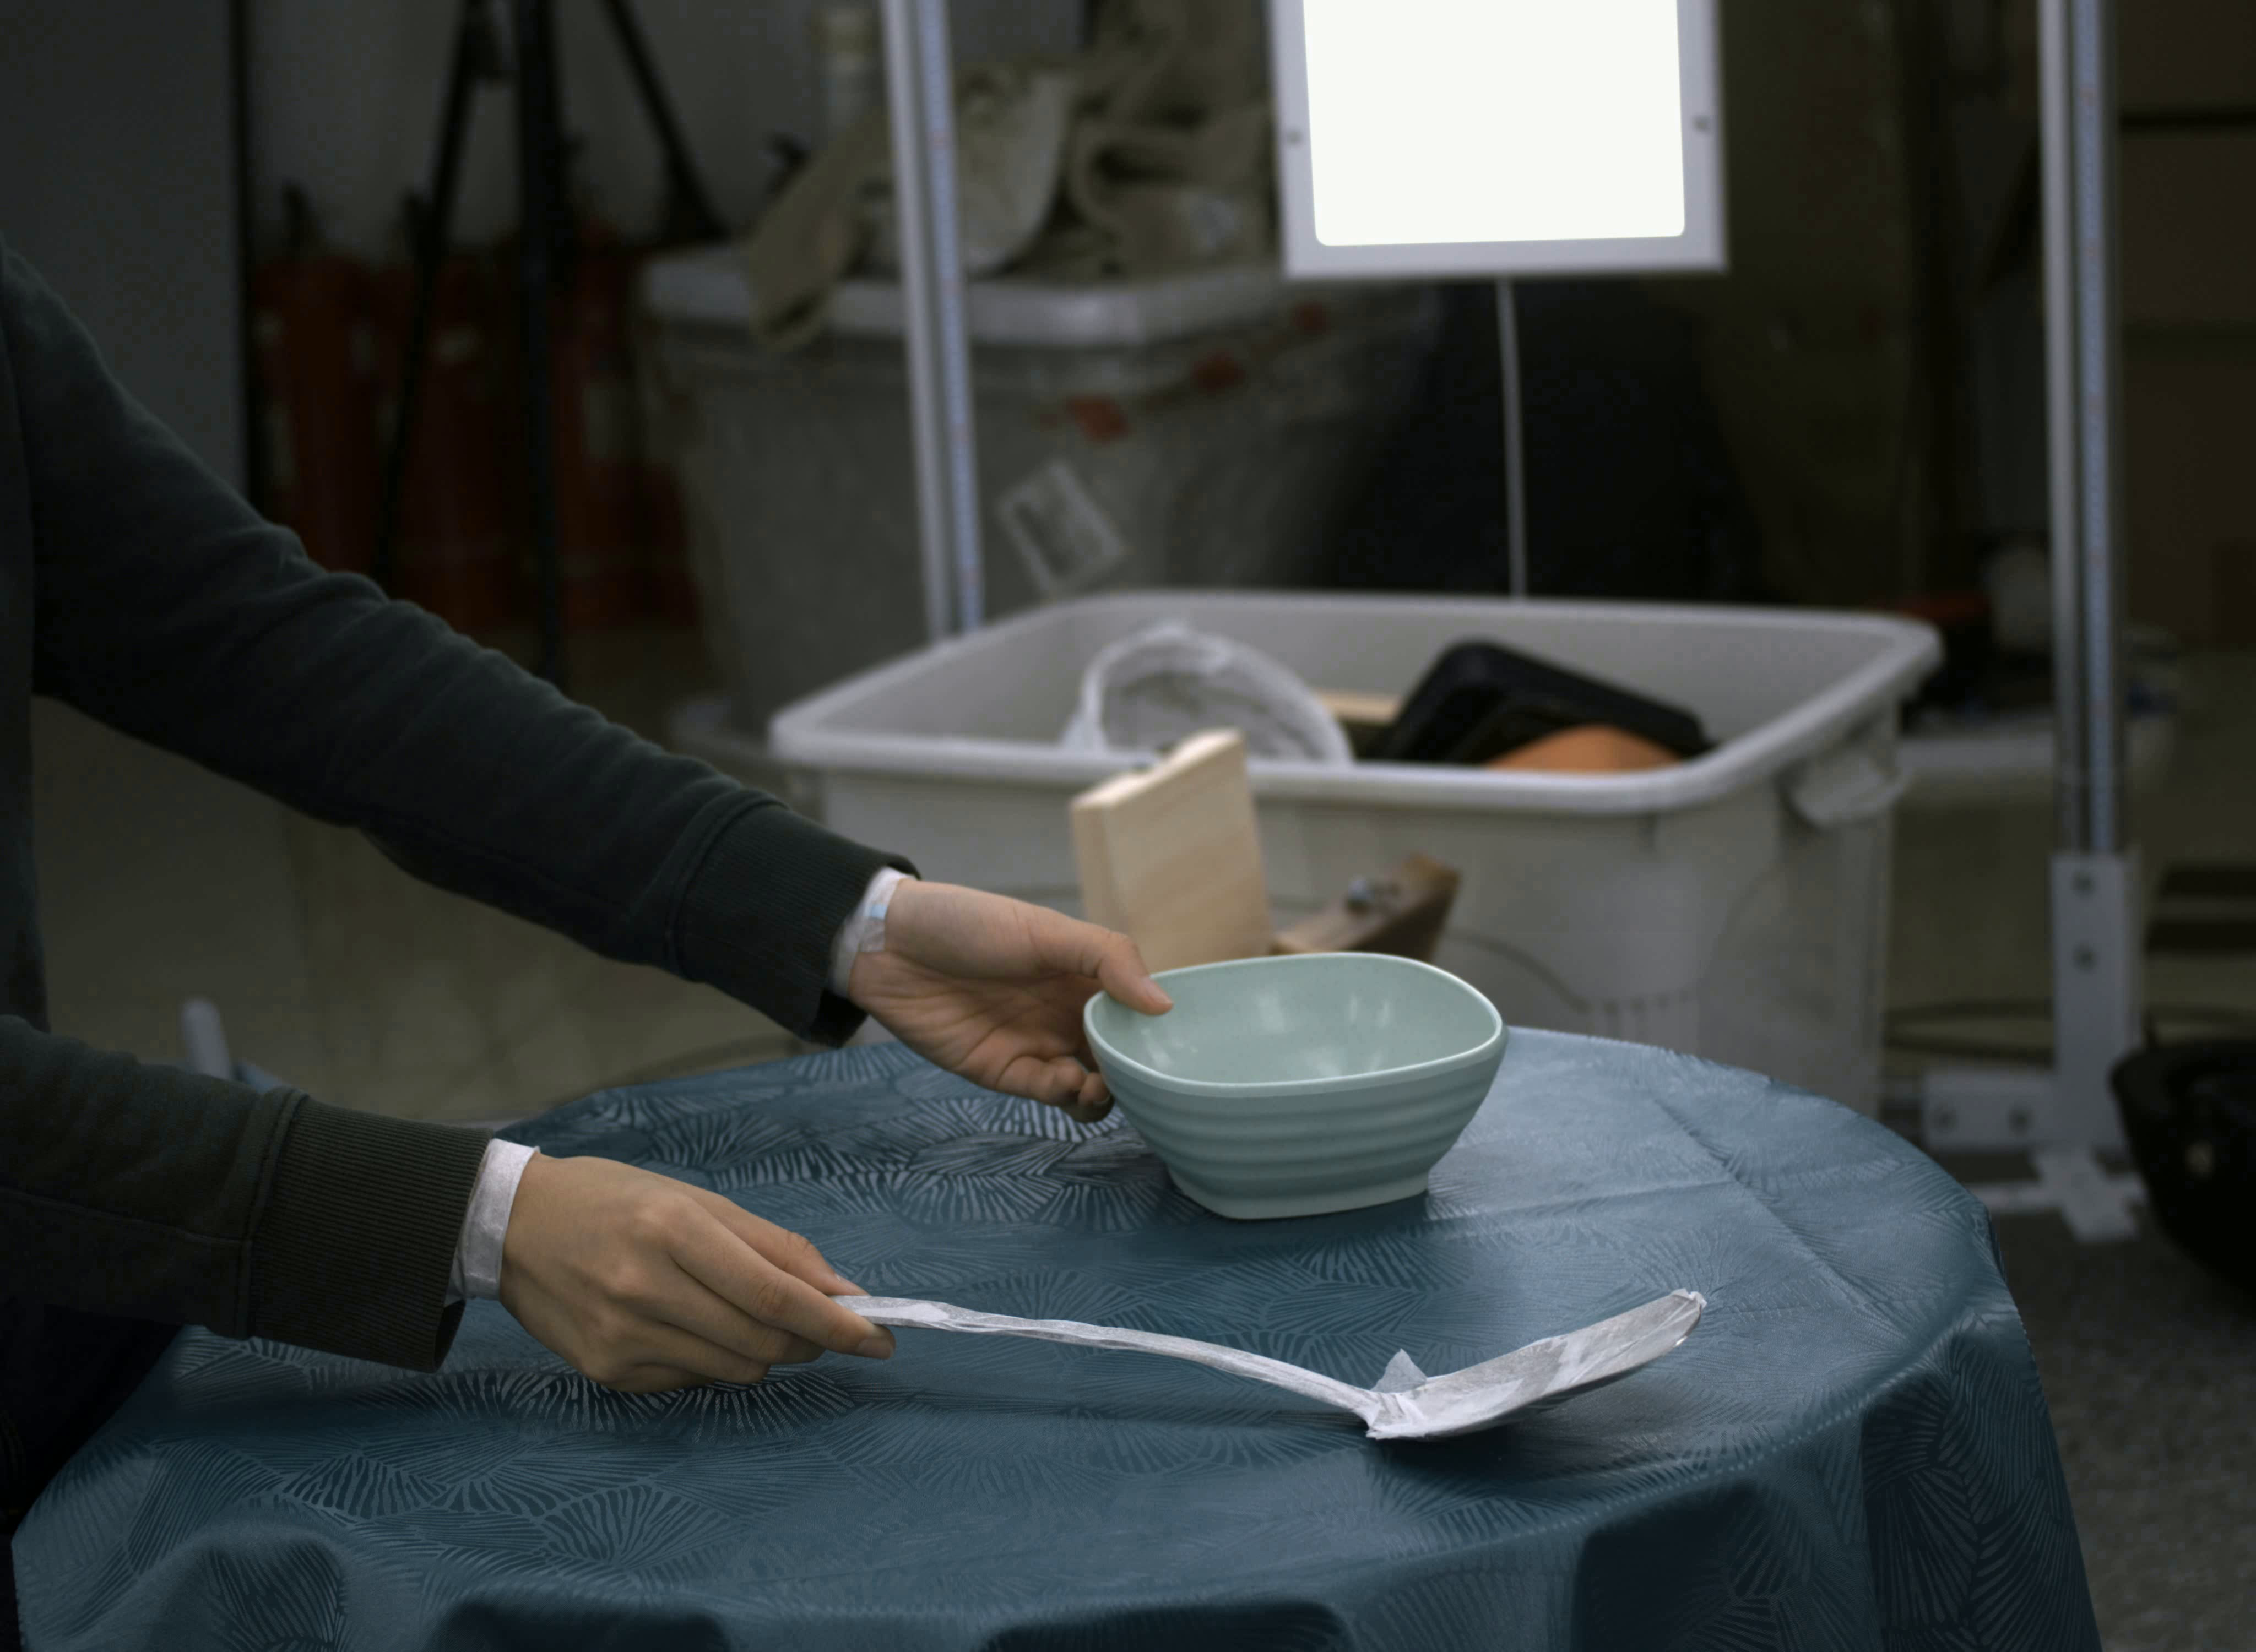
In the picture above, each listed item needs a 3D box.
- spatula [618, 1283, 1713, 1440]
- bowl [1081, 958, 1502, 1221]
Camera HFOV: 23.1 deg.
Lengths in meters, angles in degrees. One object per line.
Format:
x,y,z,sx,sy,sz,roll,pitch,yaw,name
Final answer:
-0.001,0.152,1.687,0.370,0.045,0.097,5,15,24,spatula
0.055,0.094,1.886,0.151,0.059,0.151,0,16,-1,bowl
